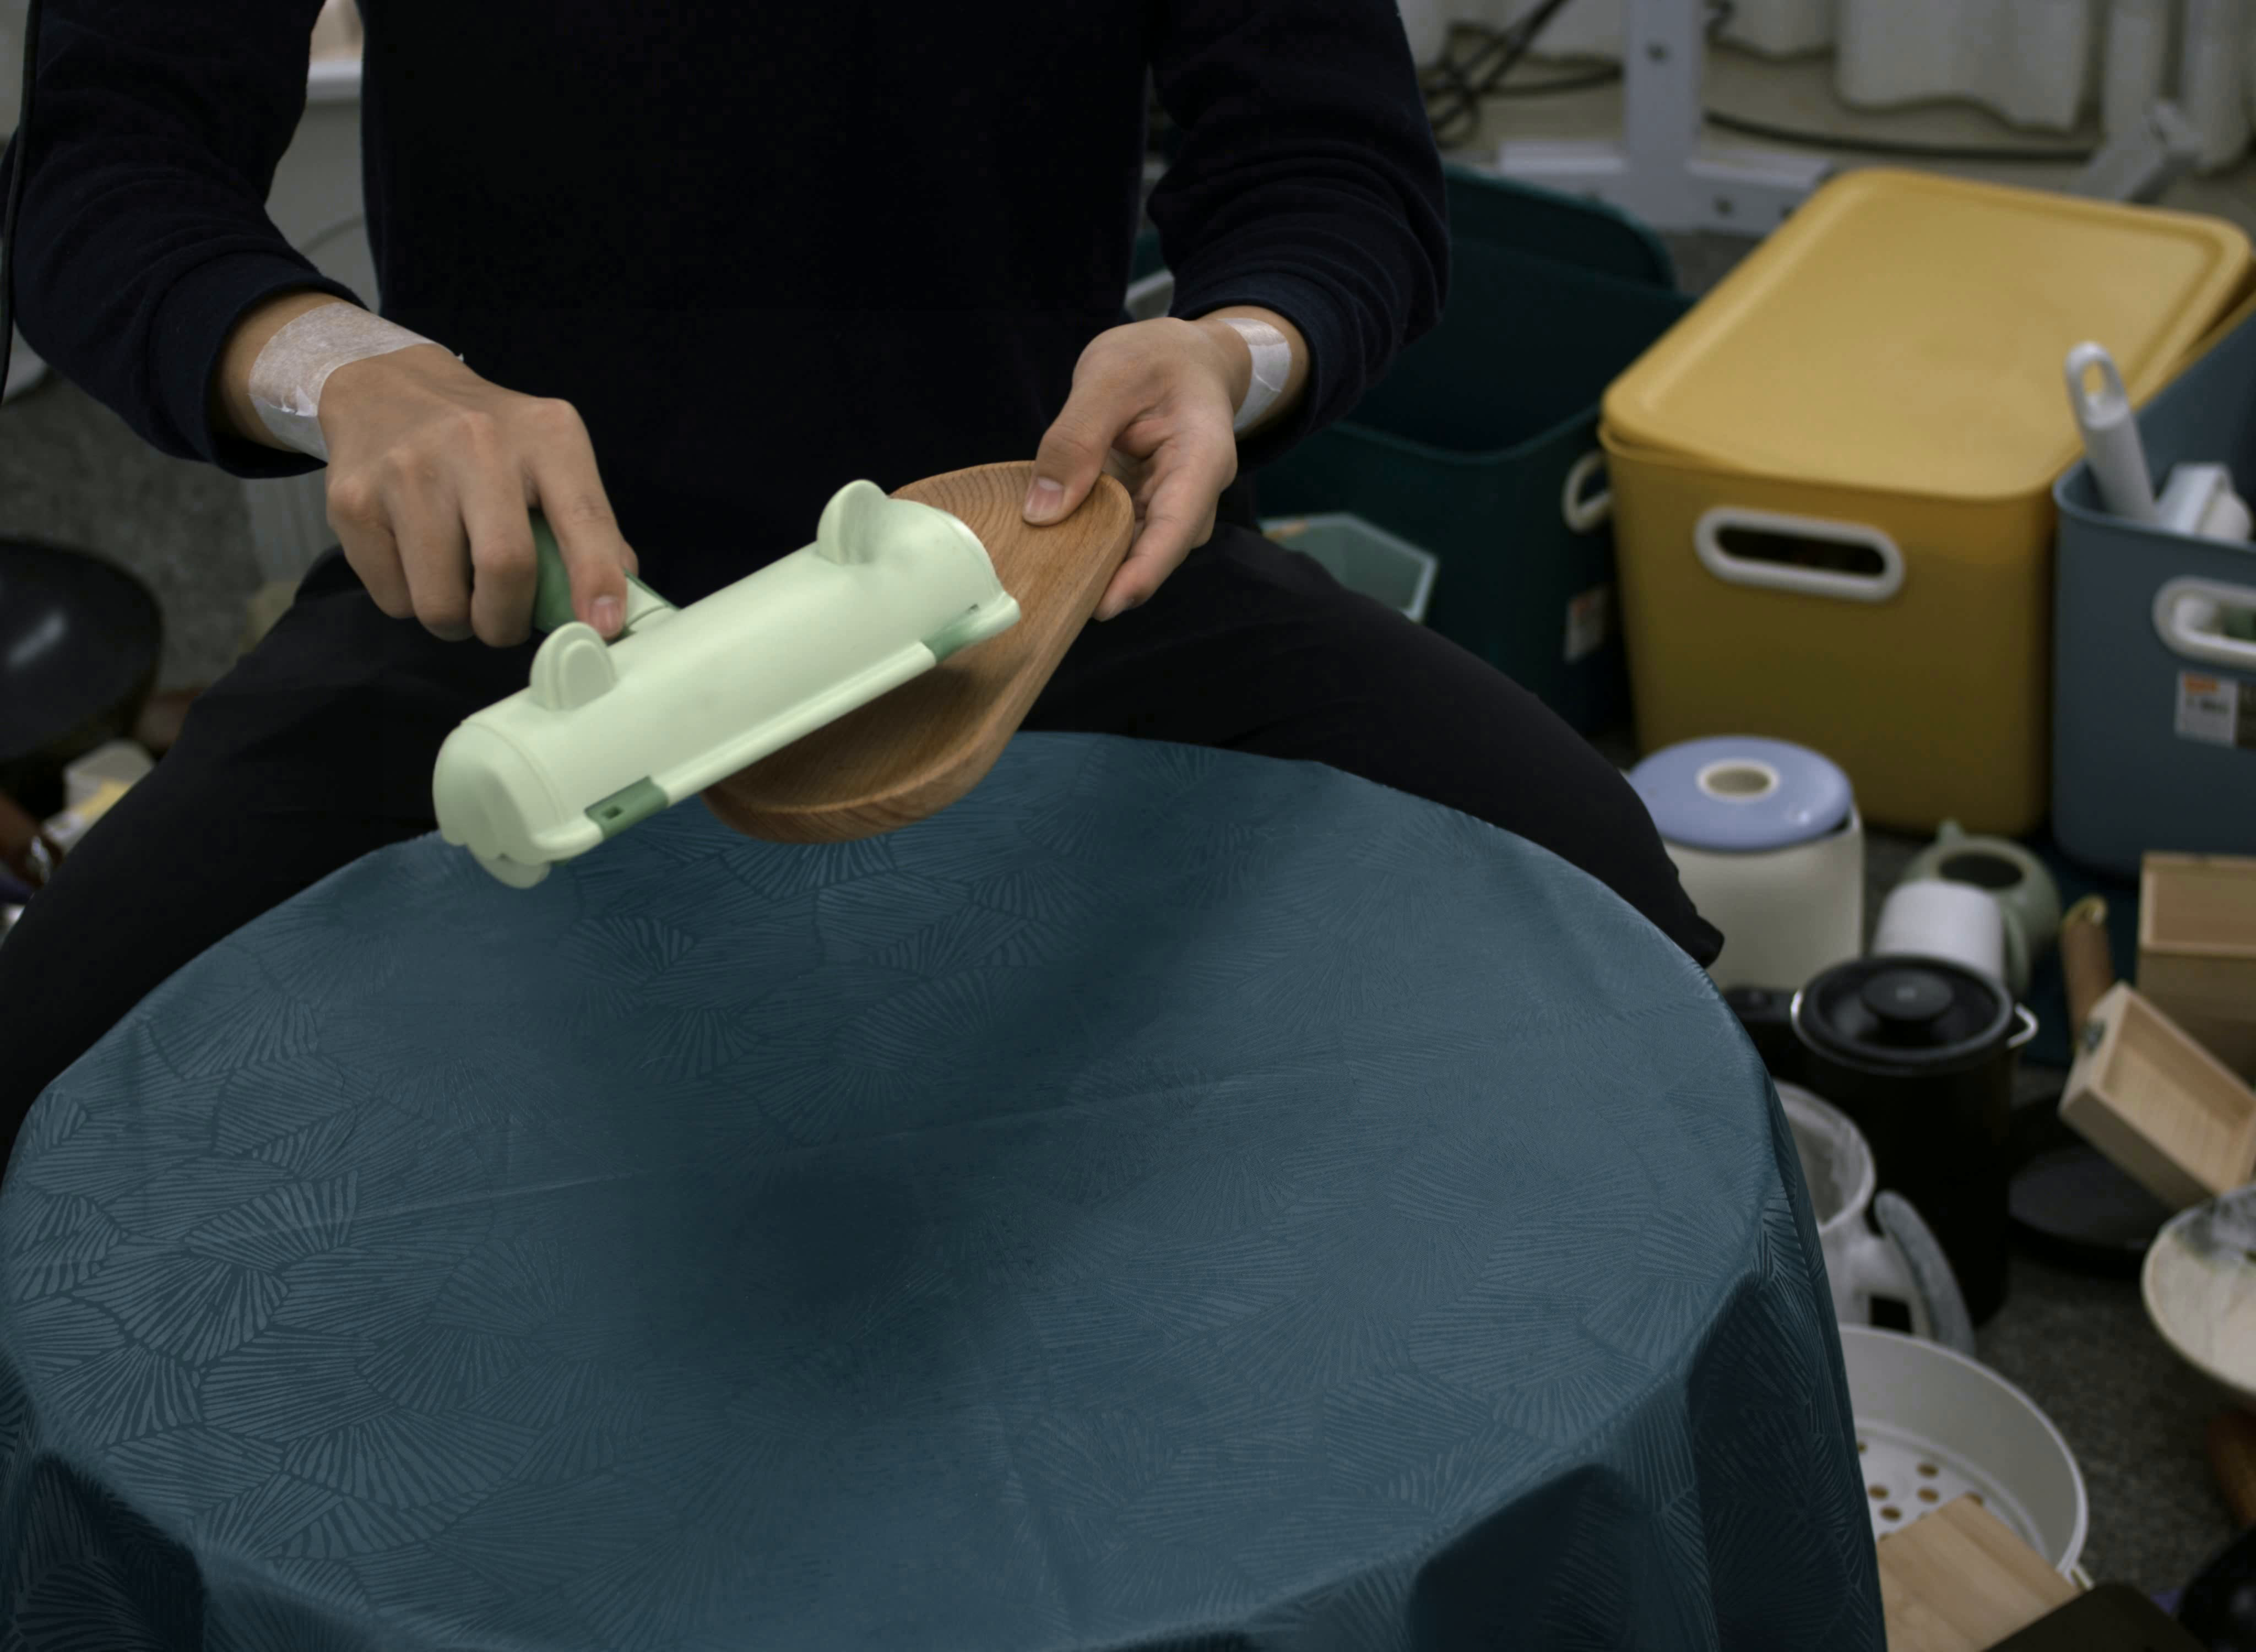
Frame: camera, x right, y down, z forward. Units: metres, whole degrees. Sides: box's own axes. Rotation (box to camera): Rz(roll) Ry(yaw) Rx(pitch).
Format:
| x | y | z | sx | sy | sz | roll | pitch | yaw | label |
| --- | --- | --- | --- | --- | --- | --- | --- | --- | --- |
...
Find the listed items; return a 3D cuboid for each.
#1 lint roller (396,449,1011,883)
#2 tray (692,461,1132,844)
| x | y | z | sx | sy | sz | roll | pitch | yaw | label |
| --- | --- | --- | --- | --- | --- | --- | --- | --- | --- |
| -0.163 | -0.082 | 1.749 | 0.201 | 0.081 | 0.184 | -30 | 59 | -37 | lint roller |
| -0.068 | -0.058 | 1.809 | 0.101 | 0.020 | 0.235 | -1 | 31 | 20 | tray |
